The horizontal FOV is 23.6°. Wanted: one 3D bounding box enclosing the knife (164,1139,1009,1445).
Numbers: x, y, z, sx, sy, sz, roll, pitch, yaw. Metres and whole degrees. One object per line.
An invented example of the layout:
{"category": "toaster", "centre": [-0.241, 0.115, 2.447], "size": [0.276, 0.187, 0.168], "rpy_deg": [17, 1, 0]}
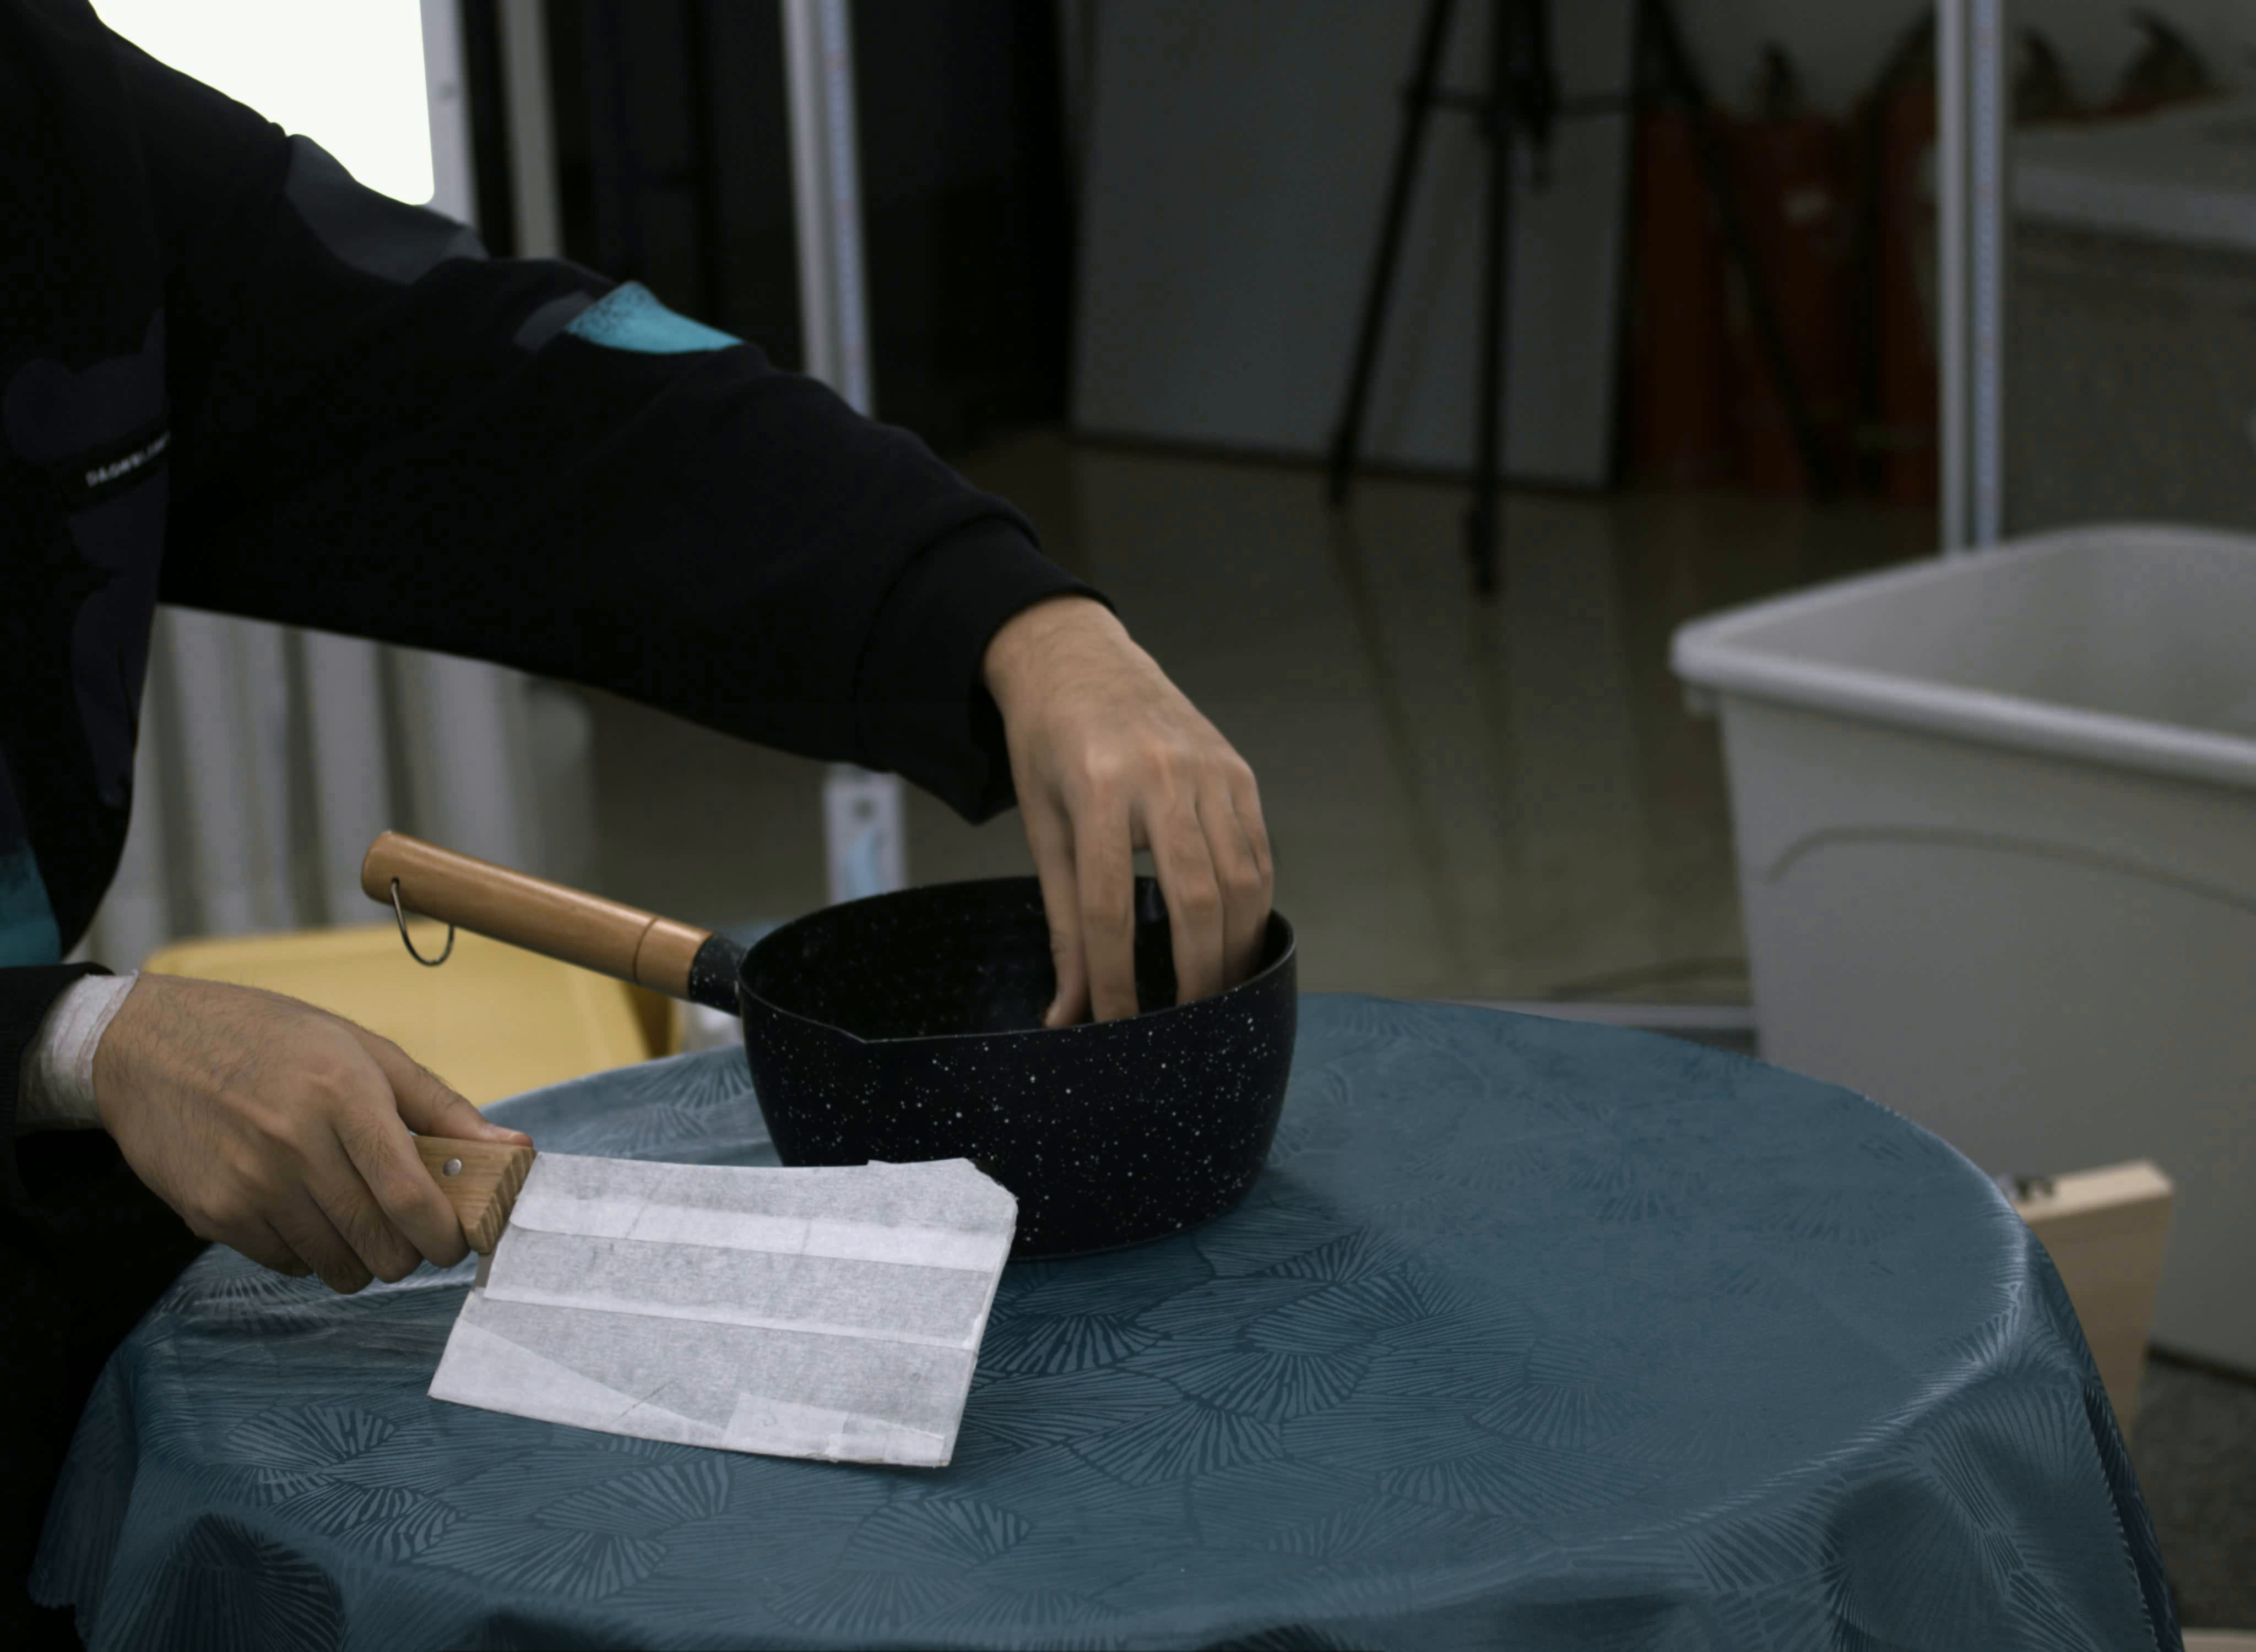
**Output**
{"category": "knife", "centre": [-0.167, 0.130, 1.627], "size": [0.317, 0.021, 0.114], "rpy_deg": [6, 60, 34]}

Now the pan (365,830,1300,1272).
{"category": "pan", "centre": [-0.105, 0.066, 1.798], "size": [0.343, 0.109, 0.205], "rpy_deg": [4, 17, 25]}
